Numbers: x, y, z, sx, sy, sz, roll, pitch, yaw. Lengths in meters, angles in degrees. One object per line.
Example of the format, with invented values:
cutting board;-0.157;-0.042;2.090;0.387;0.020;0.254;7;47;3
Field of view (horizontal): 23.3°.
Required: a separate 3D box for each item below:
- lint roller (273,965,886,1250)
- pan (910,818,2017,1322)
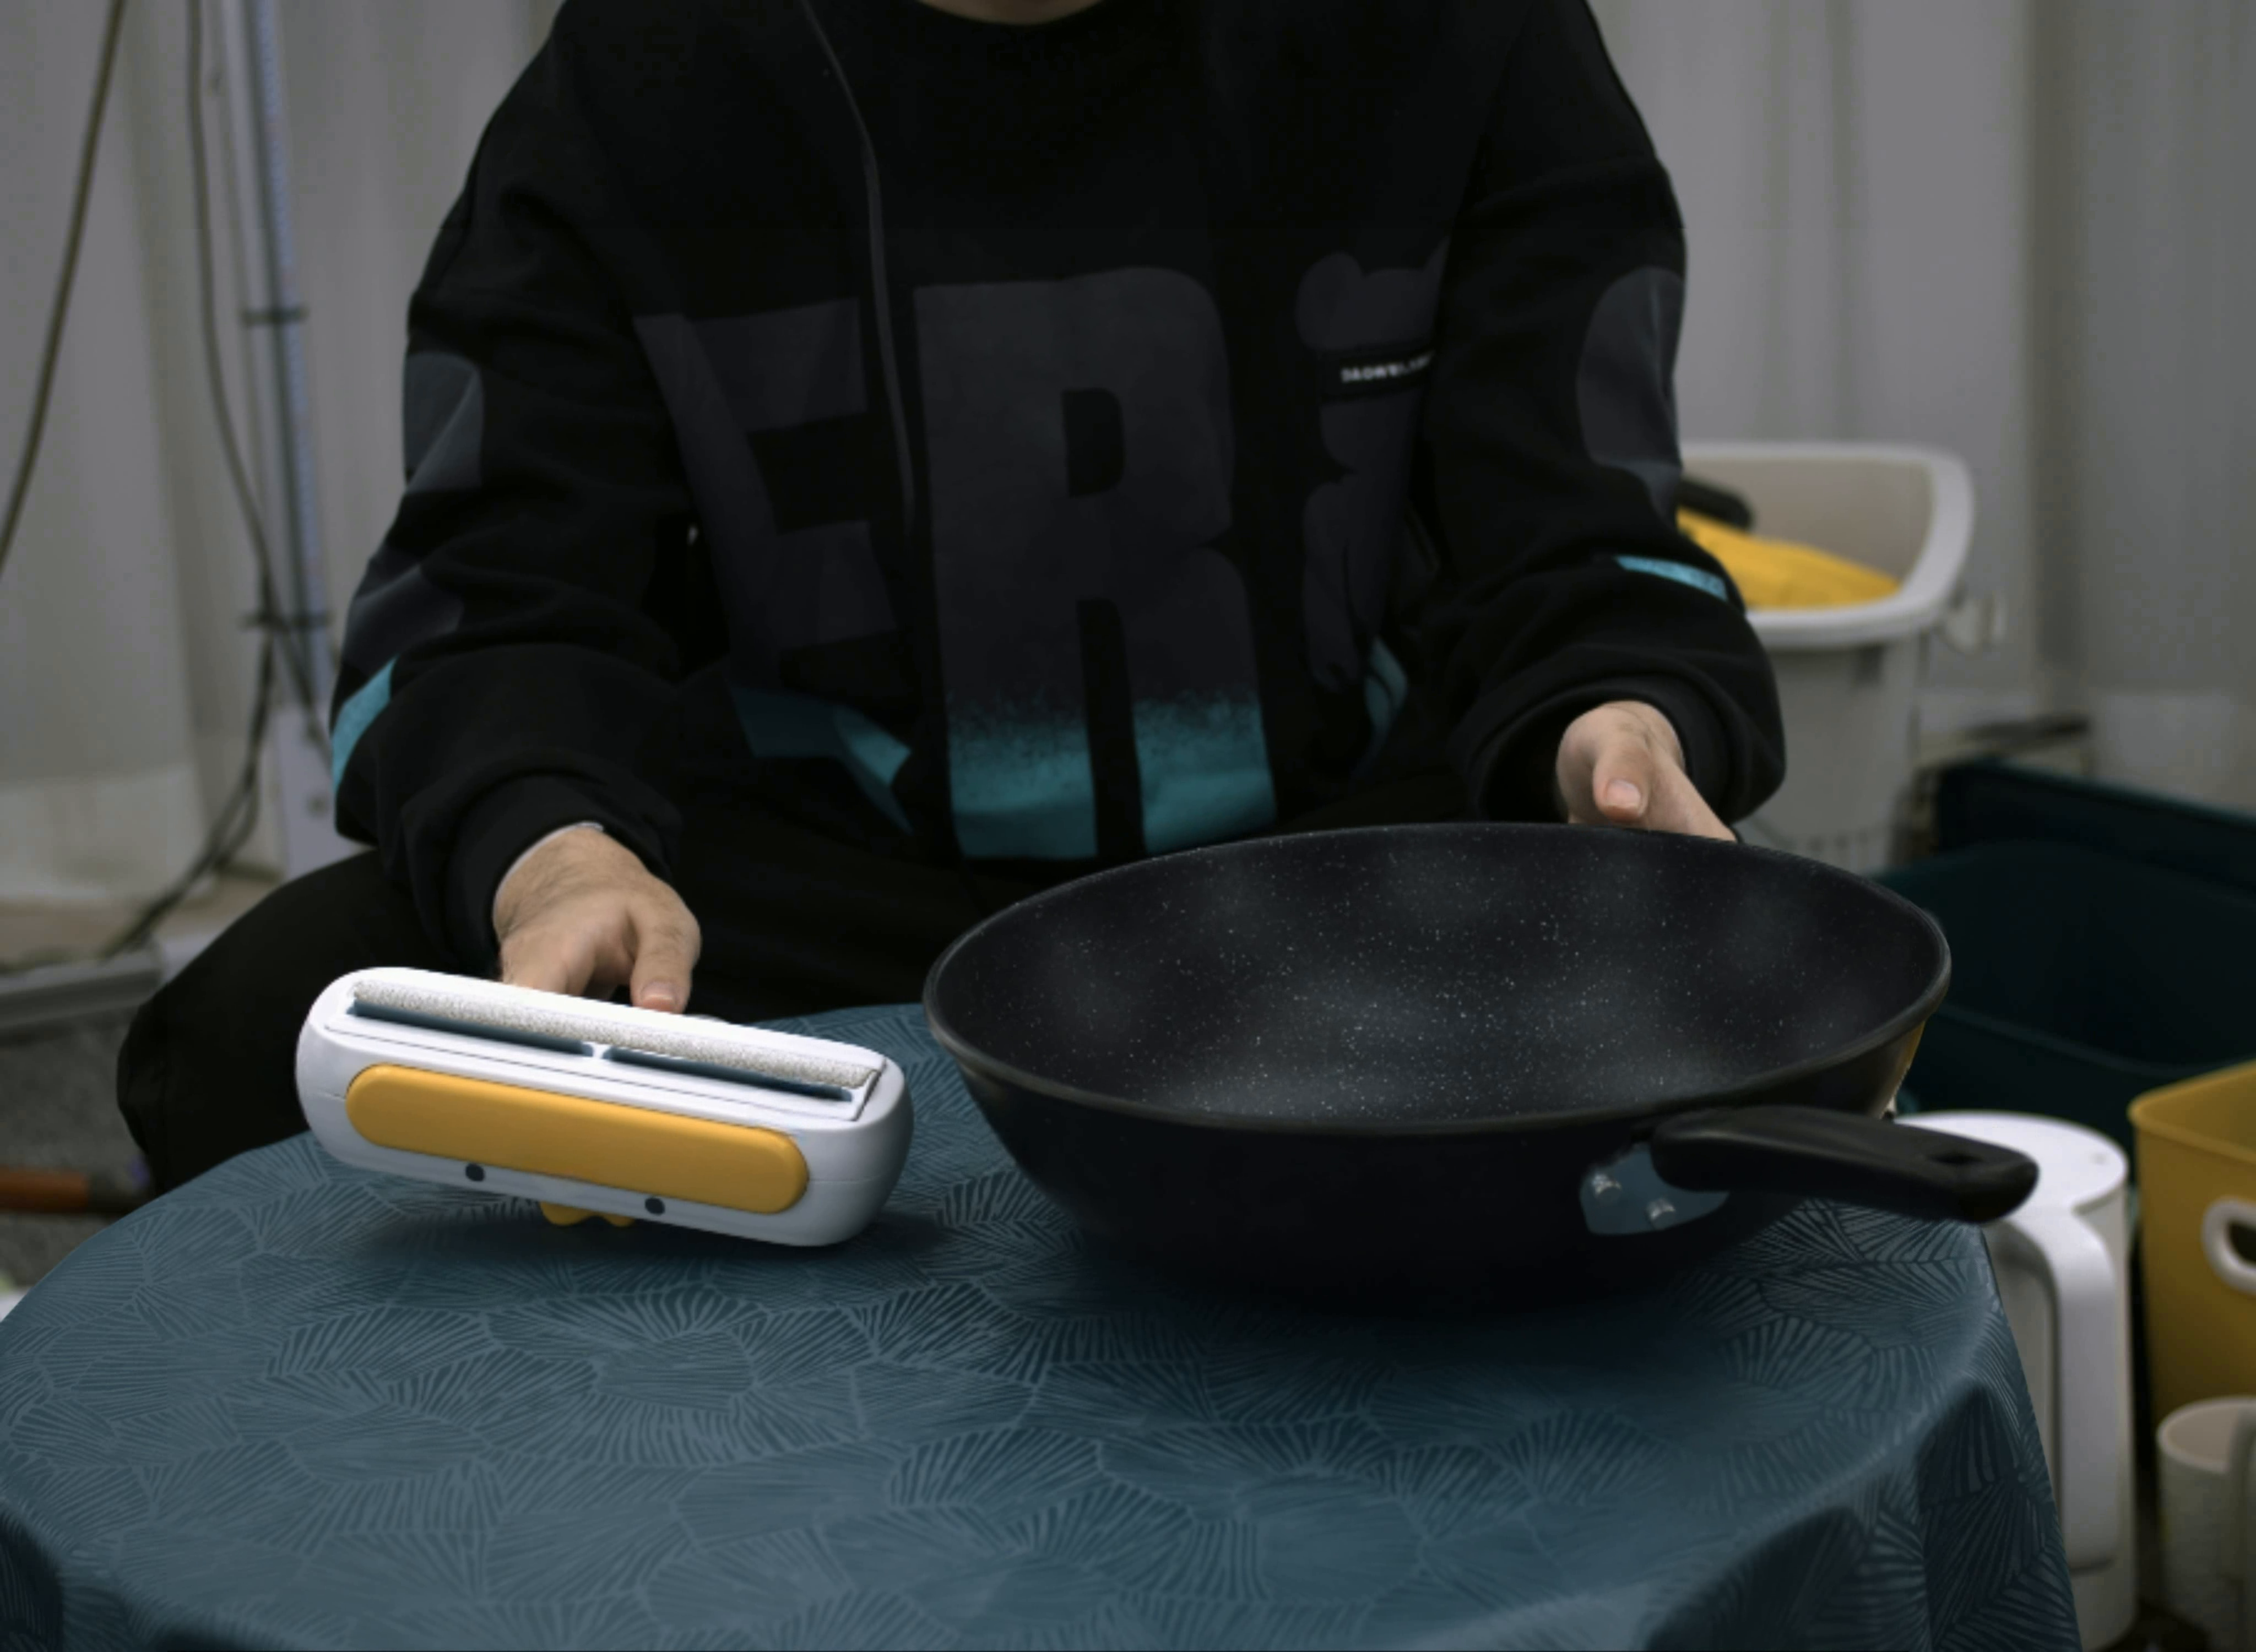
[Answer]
lint roller;-0.157;0.079;1.750;0.193;0.074;0.193;6;15;13
pan;0.123;0.088;1.584;0.309;0.111;0.480;-11;16;-21
